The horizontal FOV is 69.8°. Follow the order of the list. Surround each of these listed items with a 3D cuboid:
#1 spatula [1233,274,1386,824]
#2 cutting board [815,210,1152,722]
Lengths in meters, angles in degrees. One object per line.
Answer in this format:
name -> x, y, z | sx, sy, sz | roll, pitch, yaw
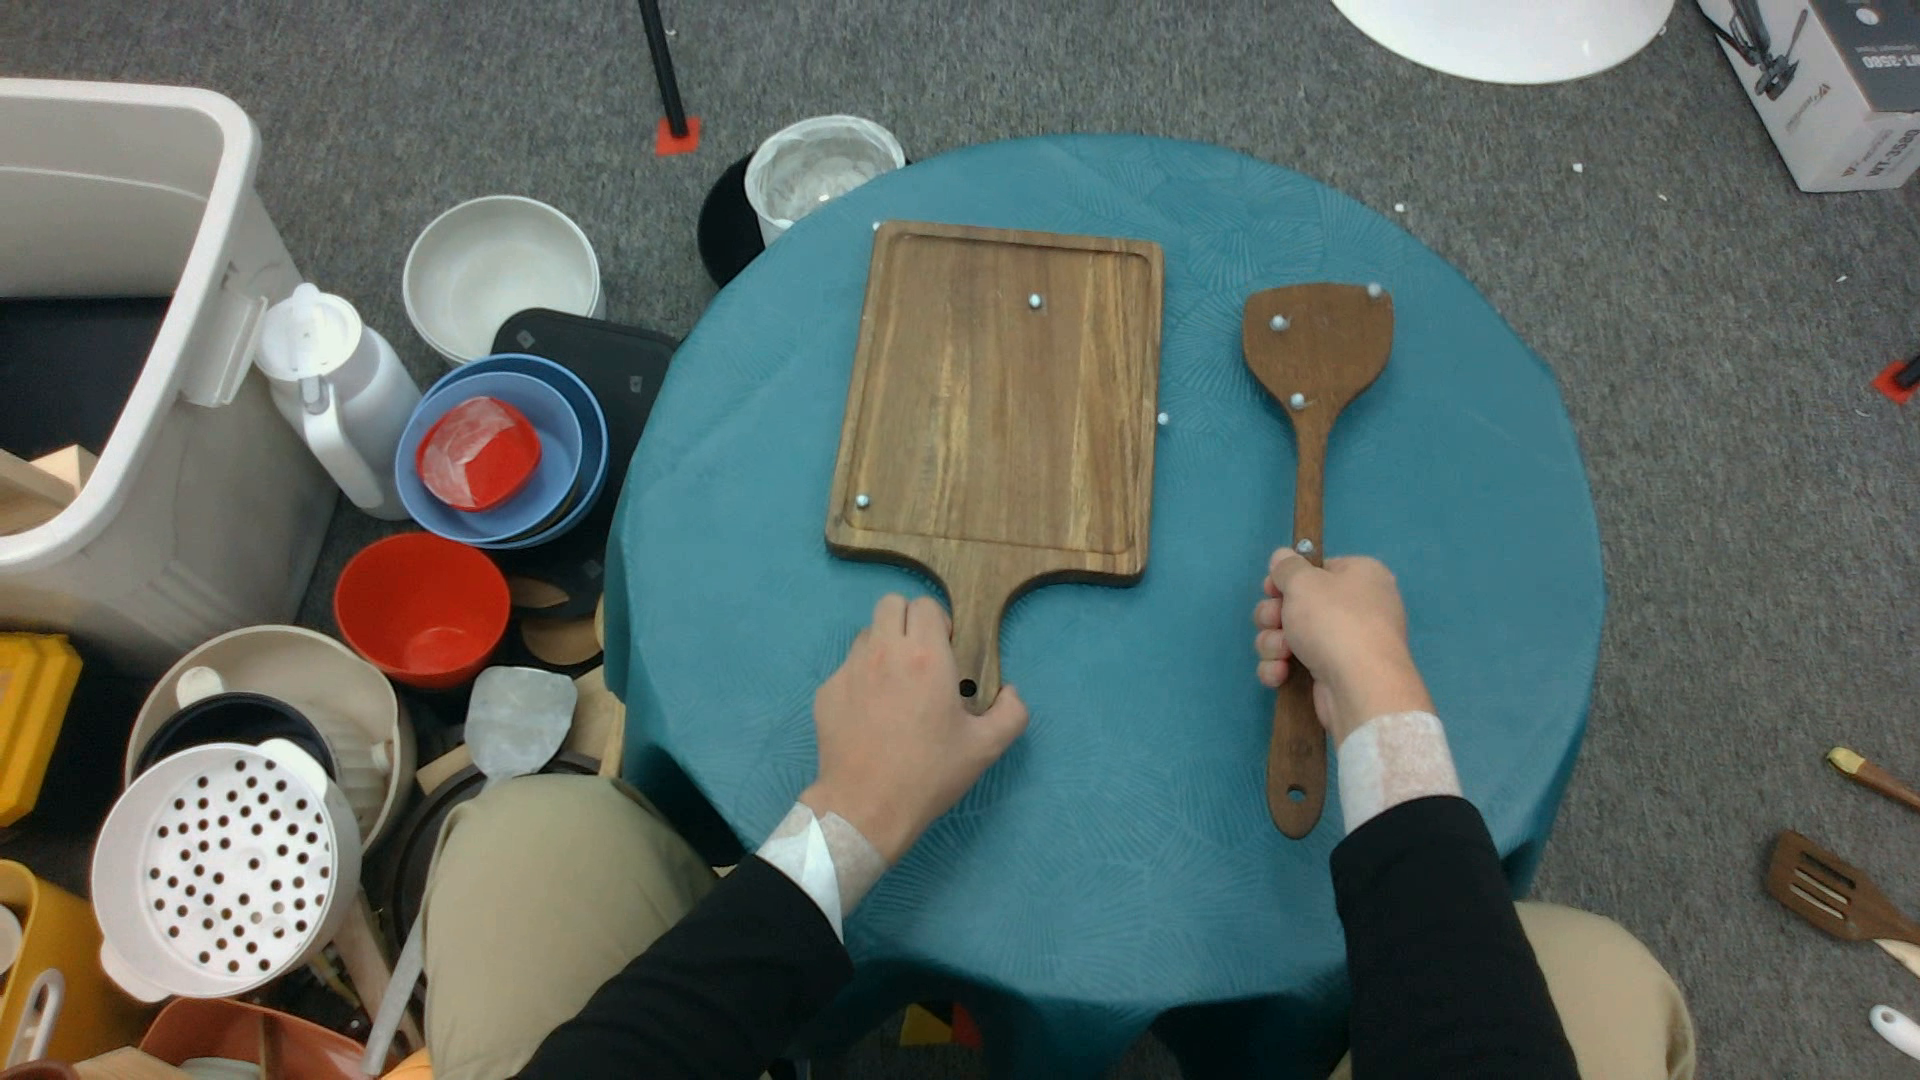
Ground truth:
spatula -> 0.200, -0.016, 0.803 | 0.096, 0.016, 0.388 | 2, 55, 14
cutting board -> 0.016, -0.058, 0.854 | 0.201, 0.023, 0.353 | 5, 63, 2
